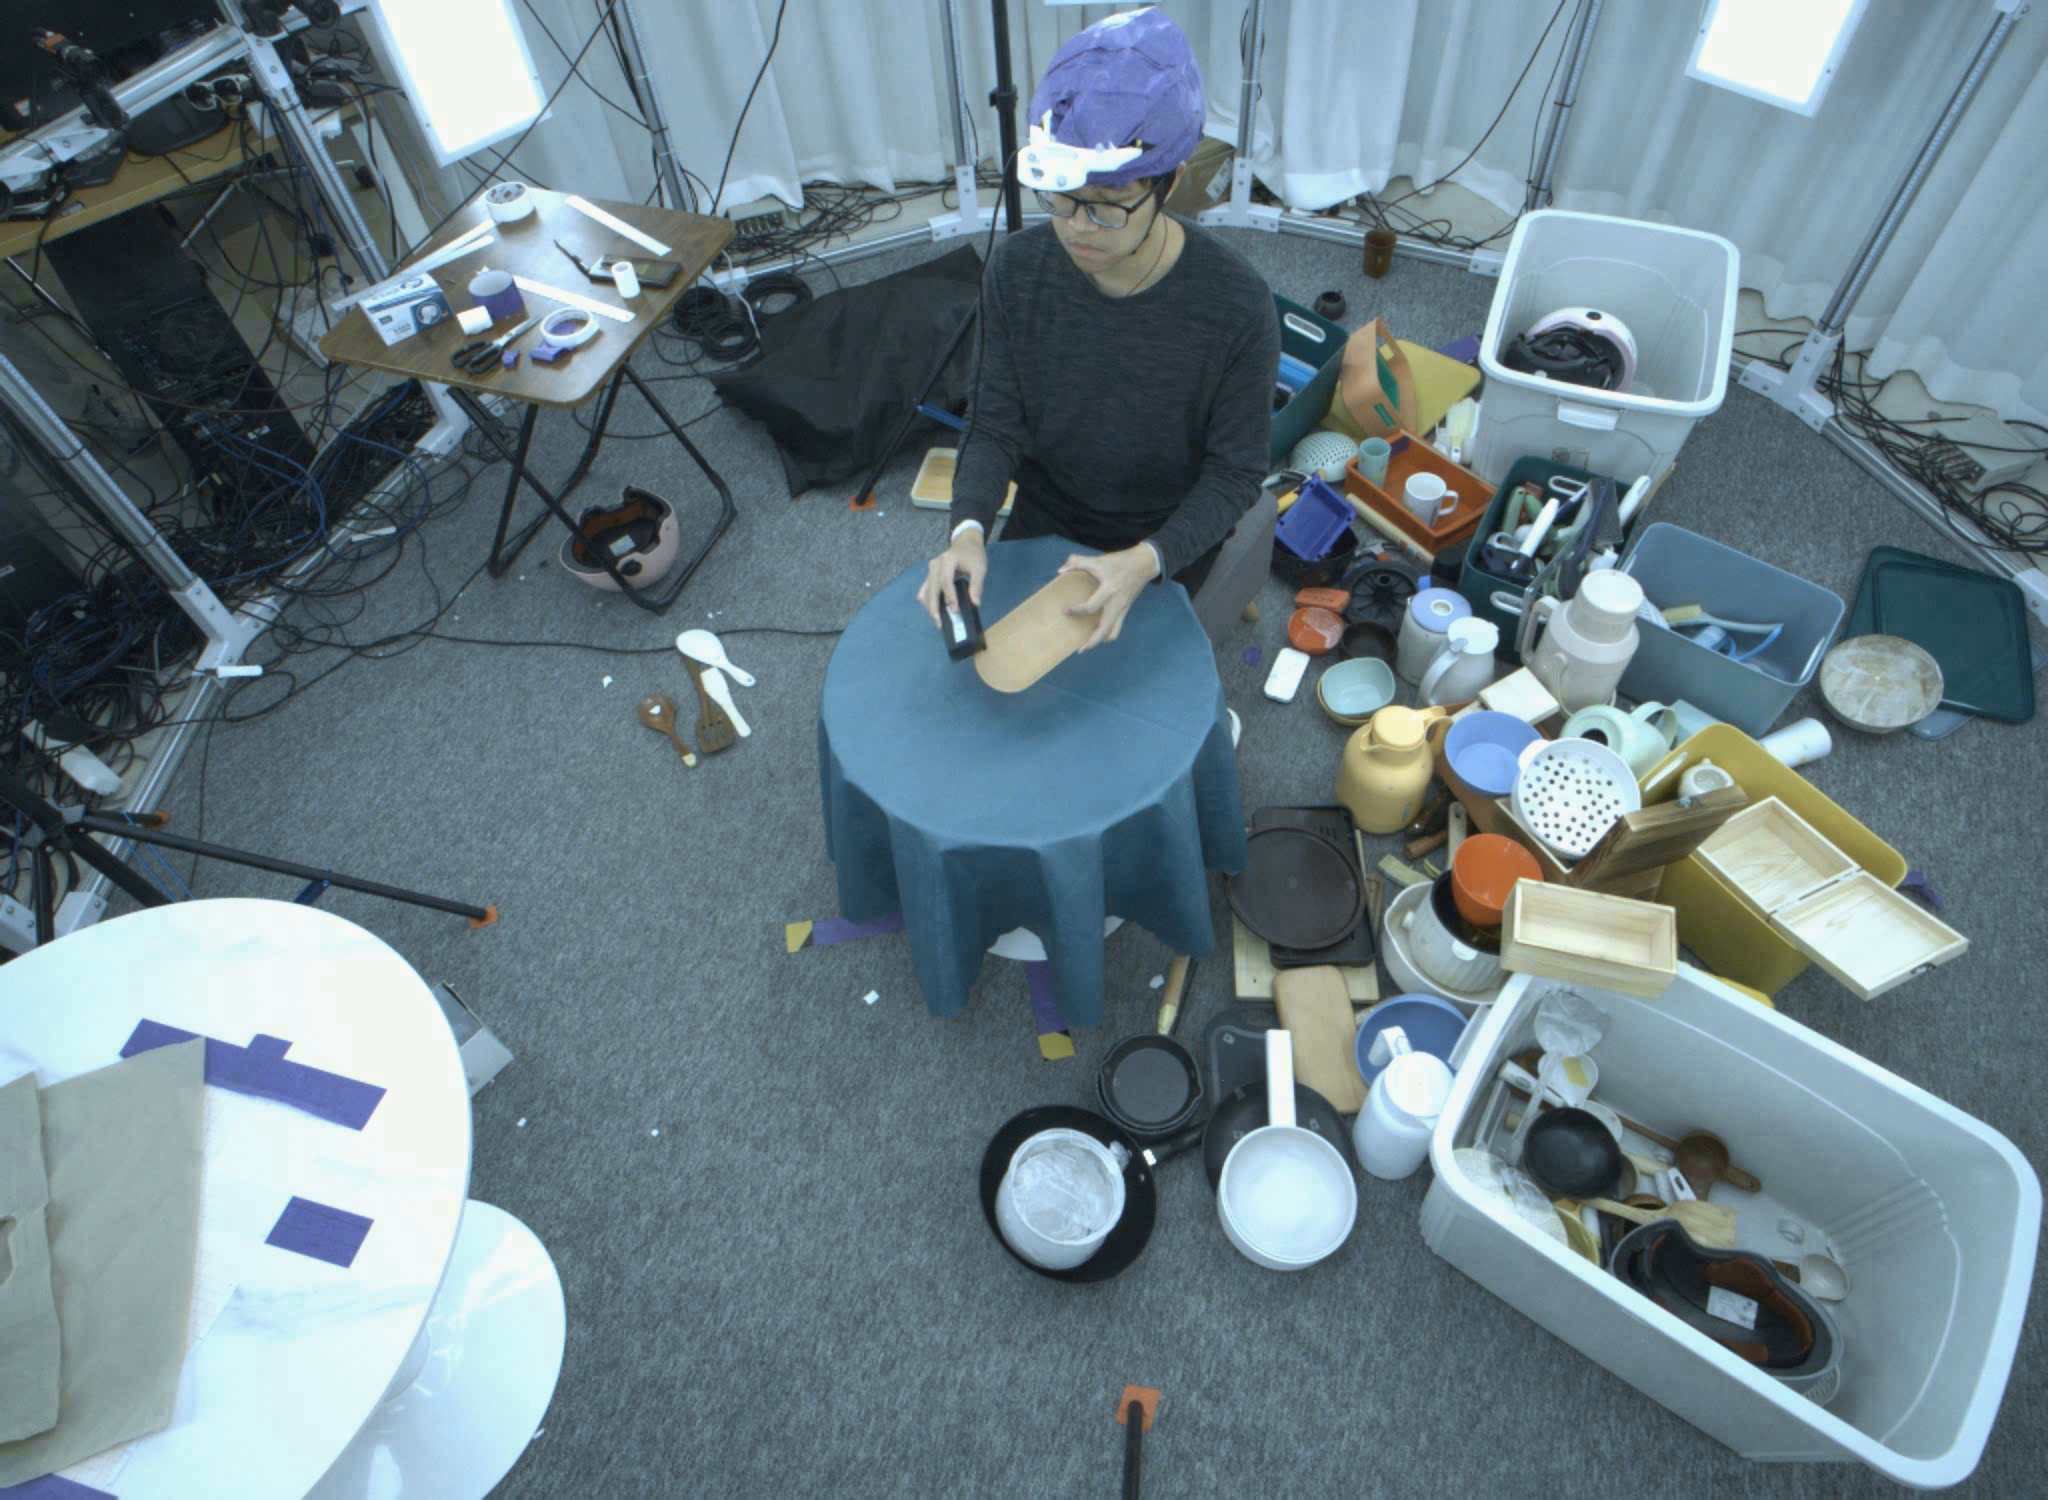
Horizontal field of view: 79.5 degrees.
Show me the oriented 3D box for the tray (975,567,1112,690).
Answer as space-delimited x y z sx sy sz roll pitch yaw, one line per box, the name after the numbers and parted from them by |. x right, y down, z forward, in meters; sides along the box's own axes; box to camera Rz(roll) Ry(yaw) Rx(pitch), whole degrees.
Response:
0.028 -0.175 1.770 0.232 0.020 0.102 -39 98 -15 | tray

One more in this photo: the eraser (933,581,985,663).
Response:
-0.094 -0.184 1.752 0.053 0.031 0.123 -23 53 10 | eraser
